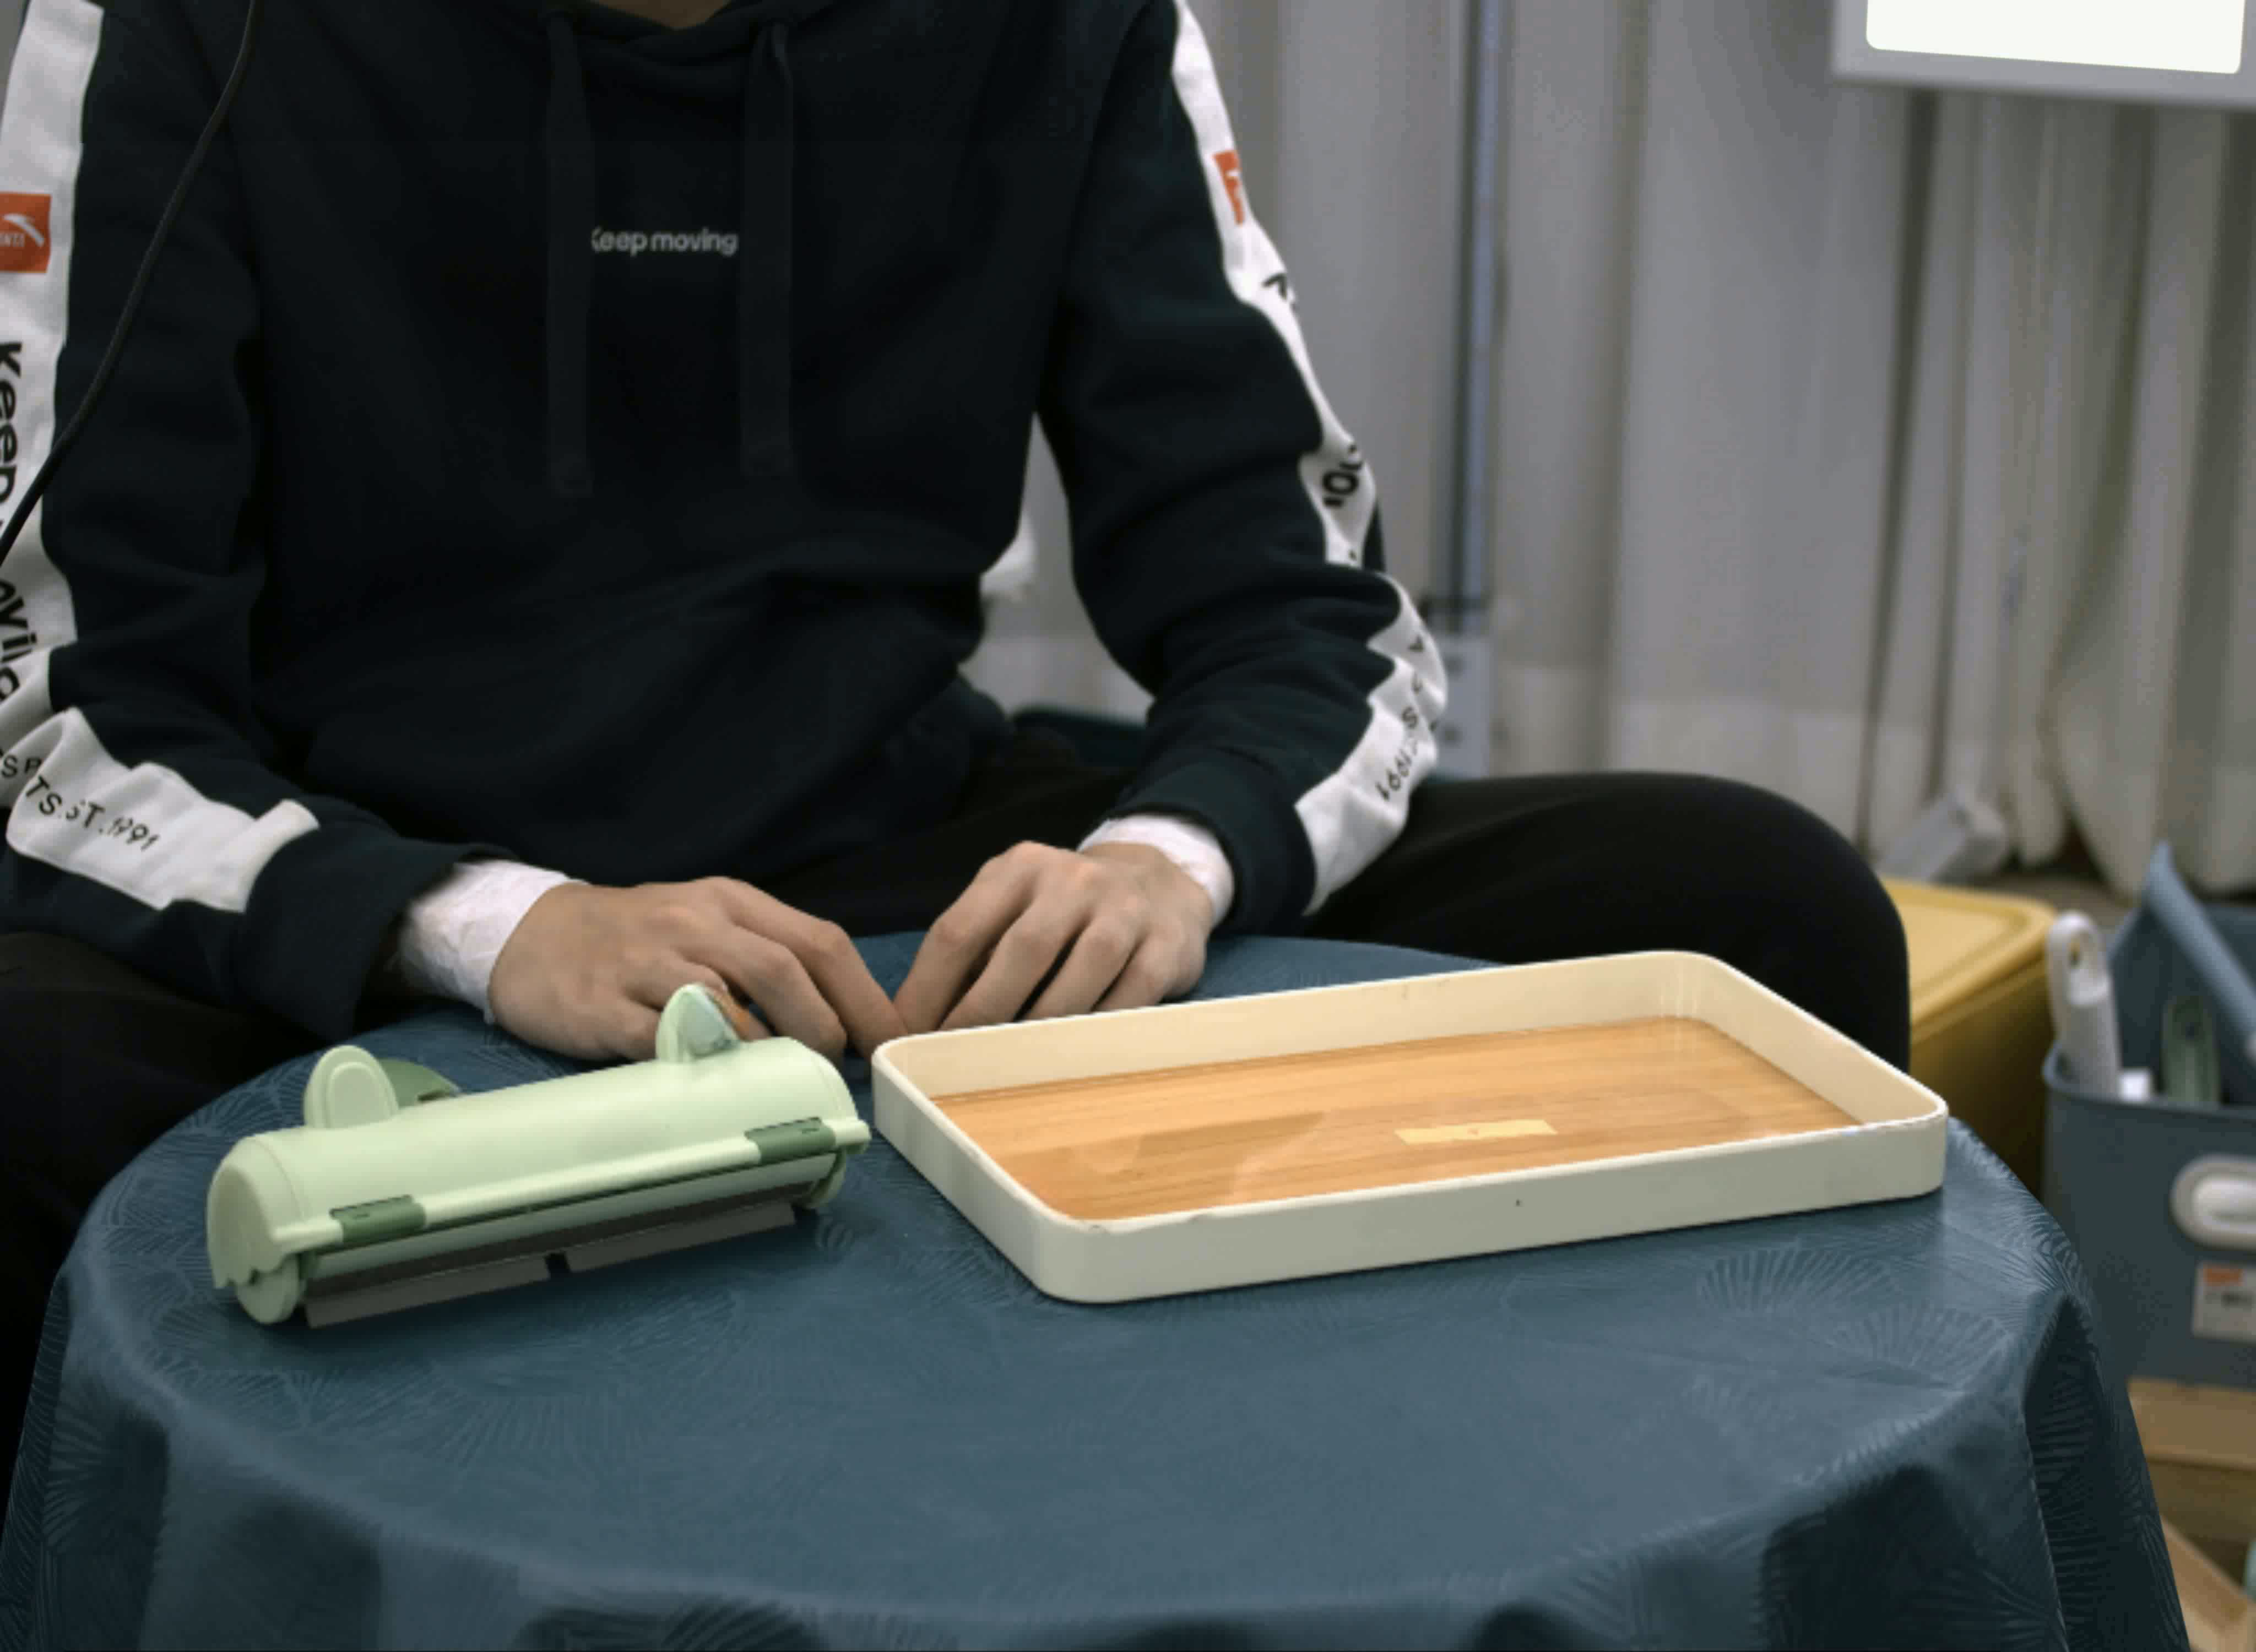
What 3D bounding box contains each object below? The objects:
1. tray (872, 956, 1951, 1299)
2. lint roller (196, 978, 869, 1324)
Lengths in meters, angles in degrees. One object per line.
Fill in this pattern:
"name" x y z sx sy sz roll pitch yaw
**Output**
"tray" 0.086 0.091 1.649 0.301 0.027 0.189 -5 16 -20
"lint roller" -0.204 0.080 1.586 0.199 0.083 0.181 -10 23 -32
